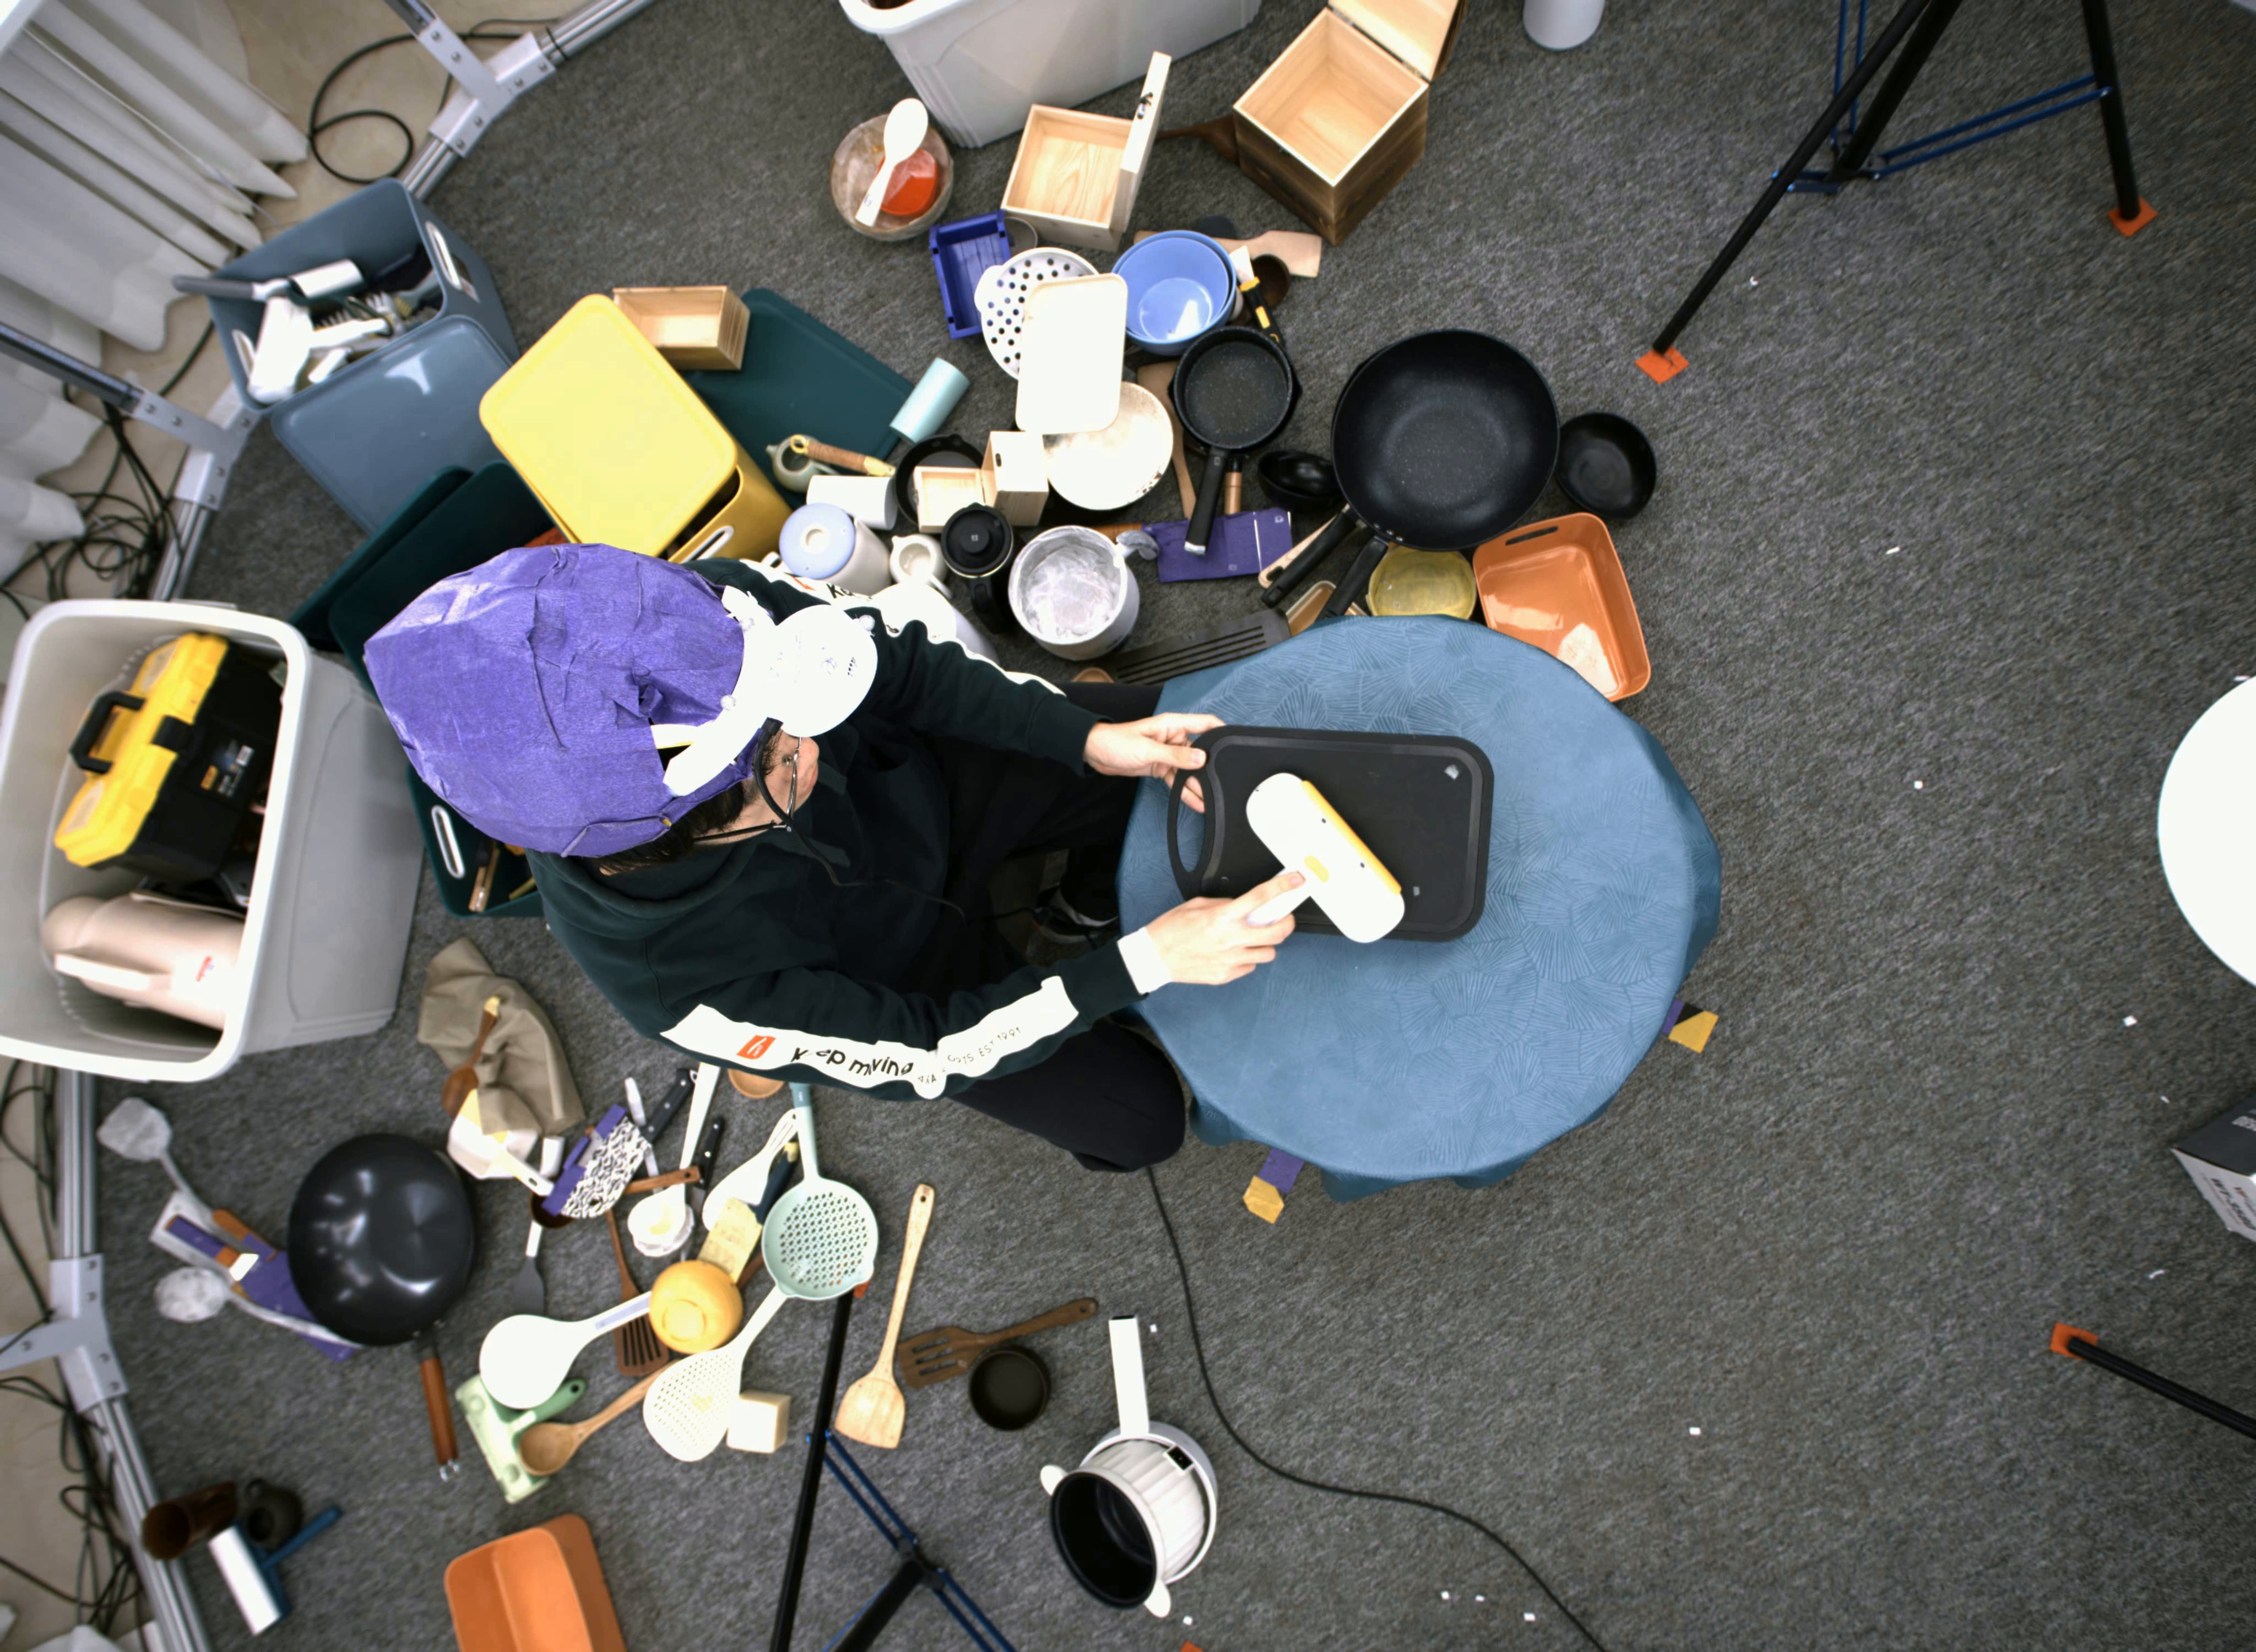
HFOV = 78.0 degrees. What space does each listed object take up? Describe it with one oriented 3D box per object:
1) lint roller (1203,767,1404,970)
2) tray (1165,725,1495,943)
[{"bbox_3d":[0.150,0.066,1.371,0.193,0.073,0.195,43,109,-5],"label":"lint roller"},{"bbox_3d":[0.196,0.007,1.380,0.326,0.009,0.214,4,106,12],"label":"tray"}]
